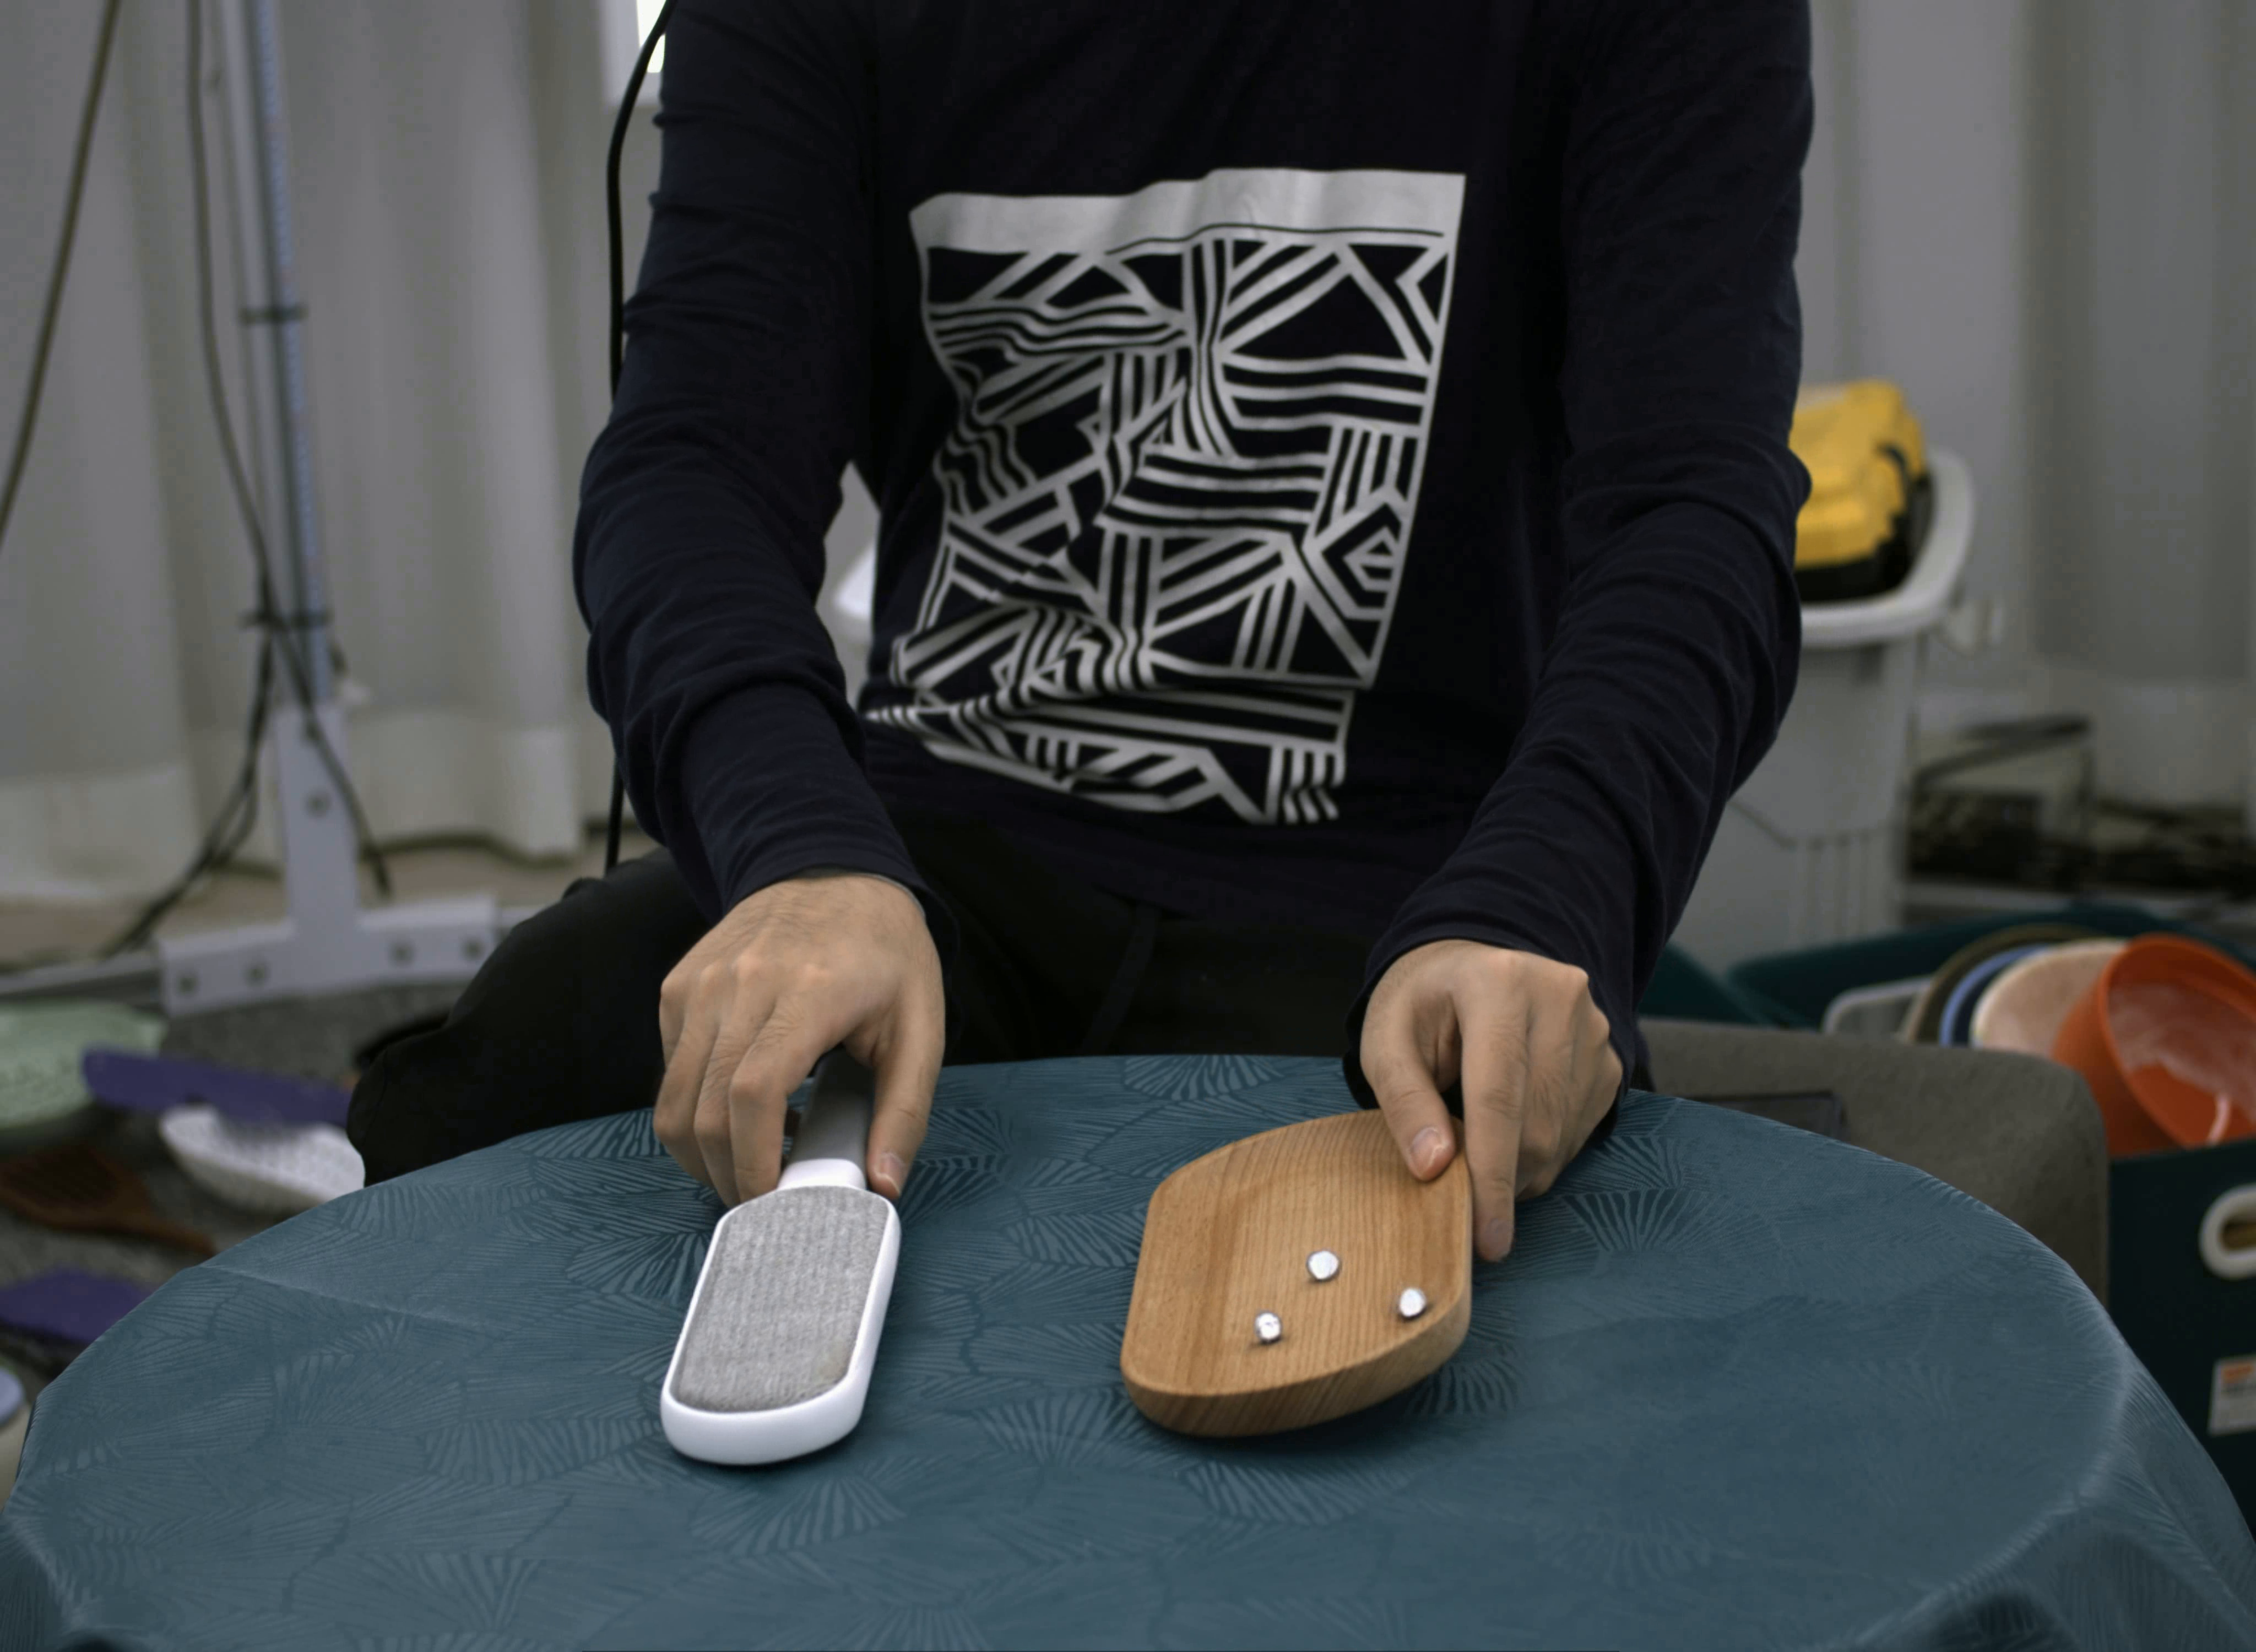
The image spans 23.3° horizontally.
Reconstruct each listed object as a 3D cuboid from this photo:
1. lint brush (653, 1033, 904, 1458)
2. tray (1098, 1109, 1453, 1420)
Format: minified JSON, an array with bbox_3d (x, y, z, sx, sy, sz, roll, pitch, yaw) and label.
[{"bbox_3d":[-0.096,0.121,1.640,0.060,0.021,0.311,-10,17,6],"label":"lint brush"},{"bbox_3d":[0.045,0.126,1.600,0.101,0.020,0.232,-9,12,5],"label":"tray"}]
